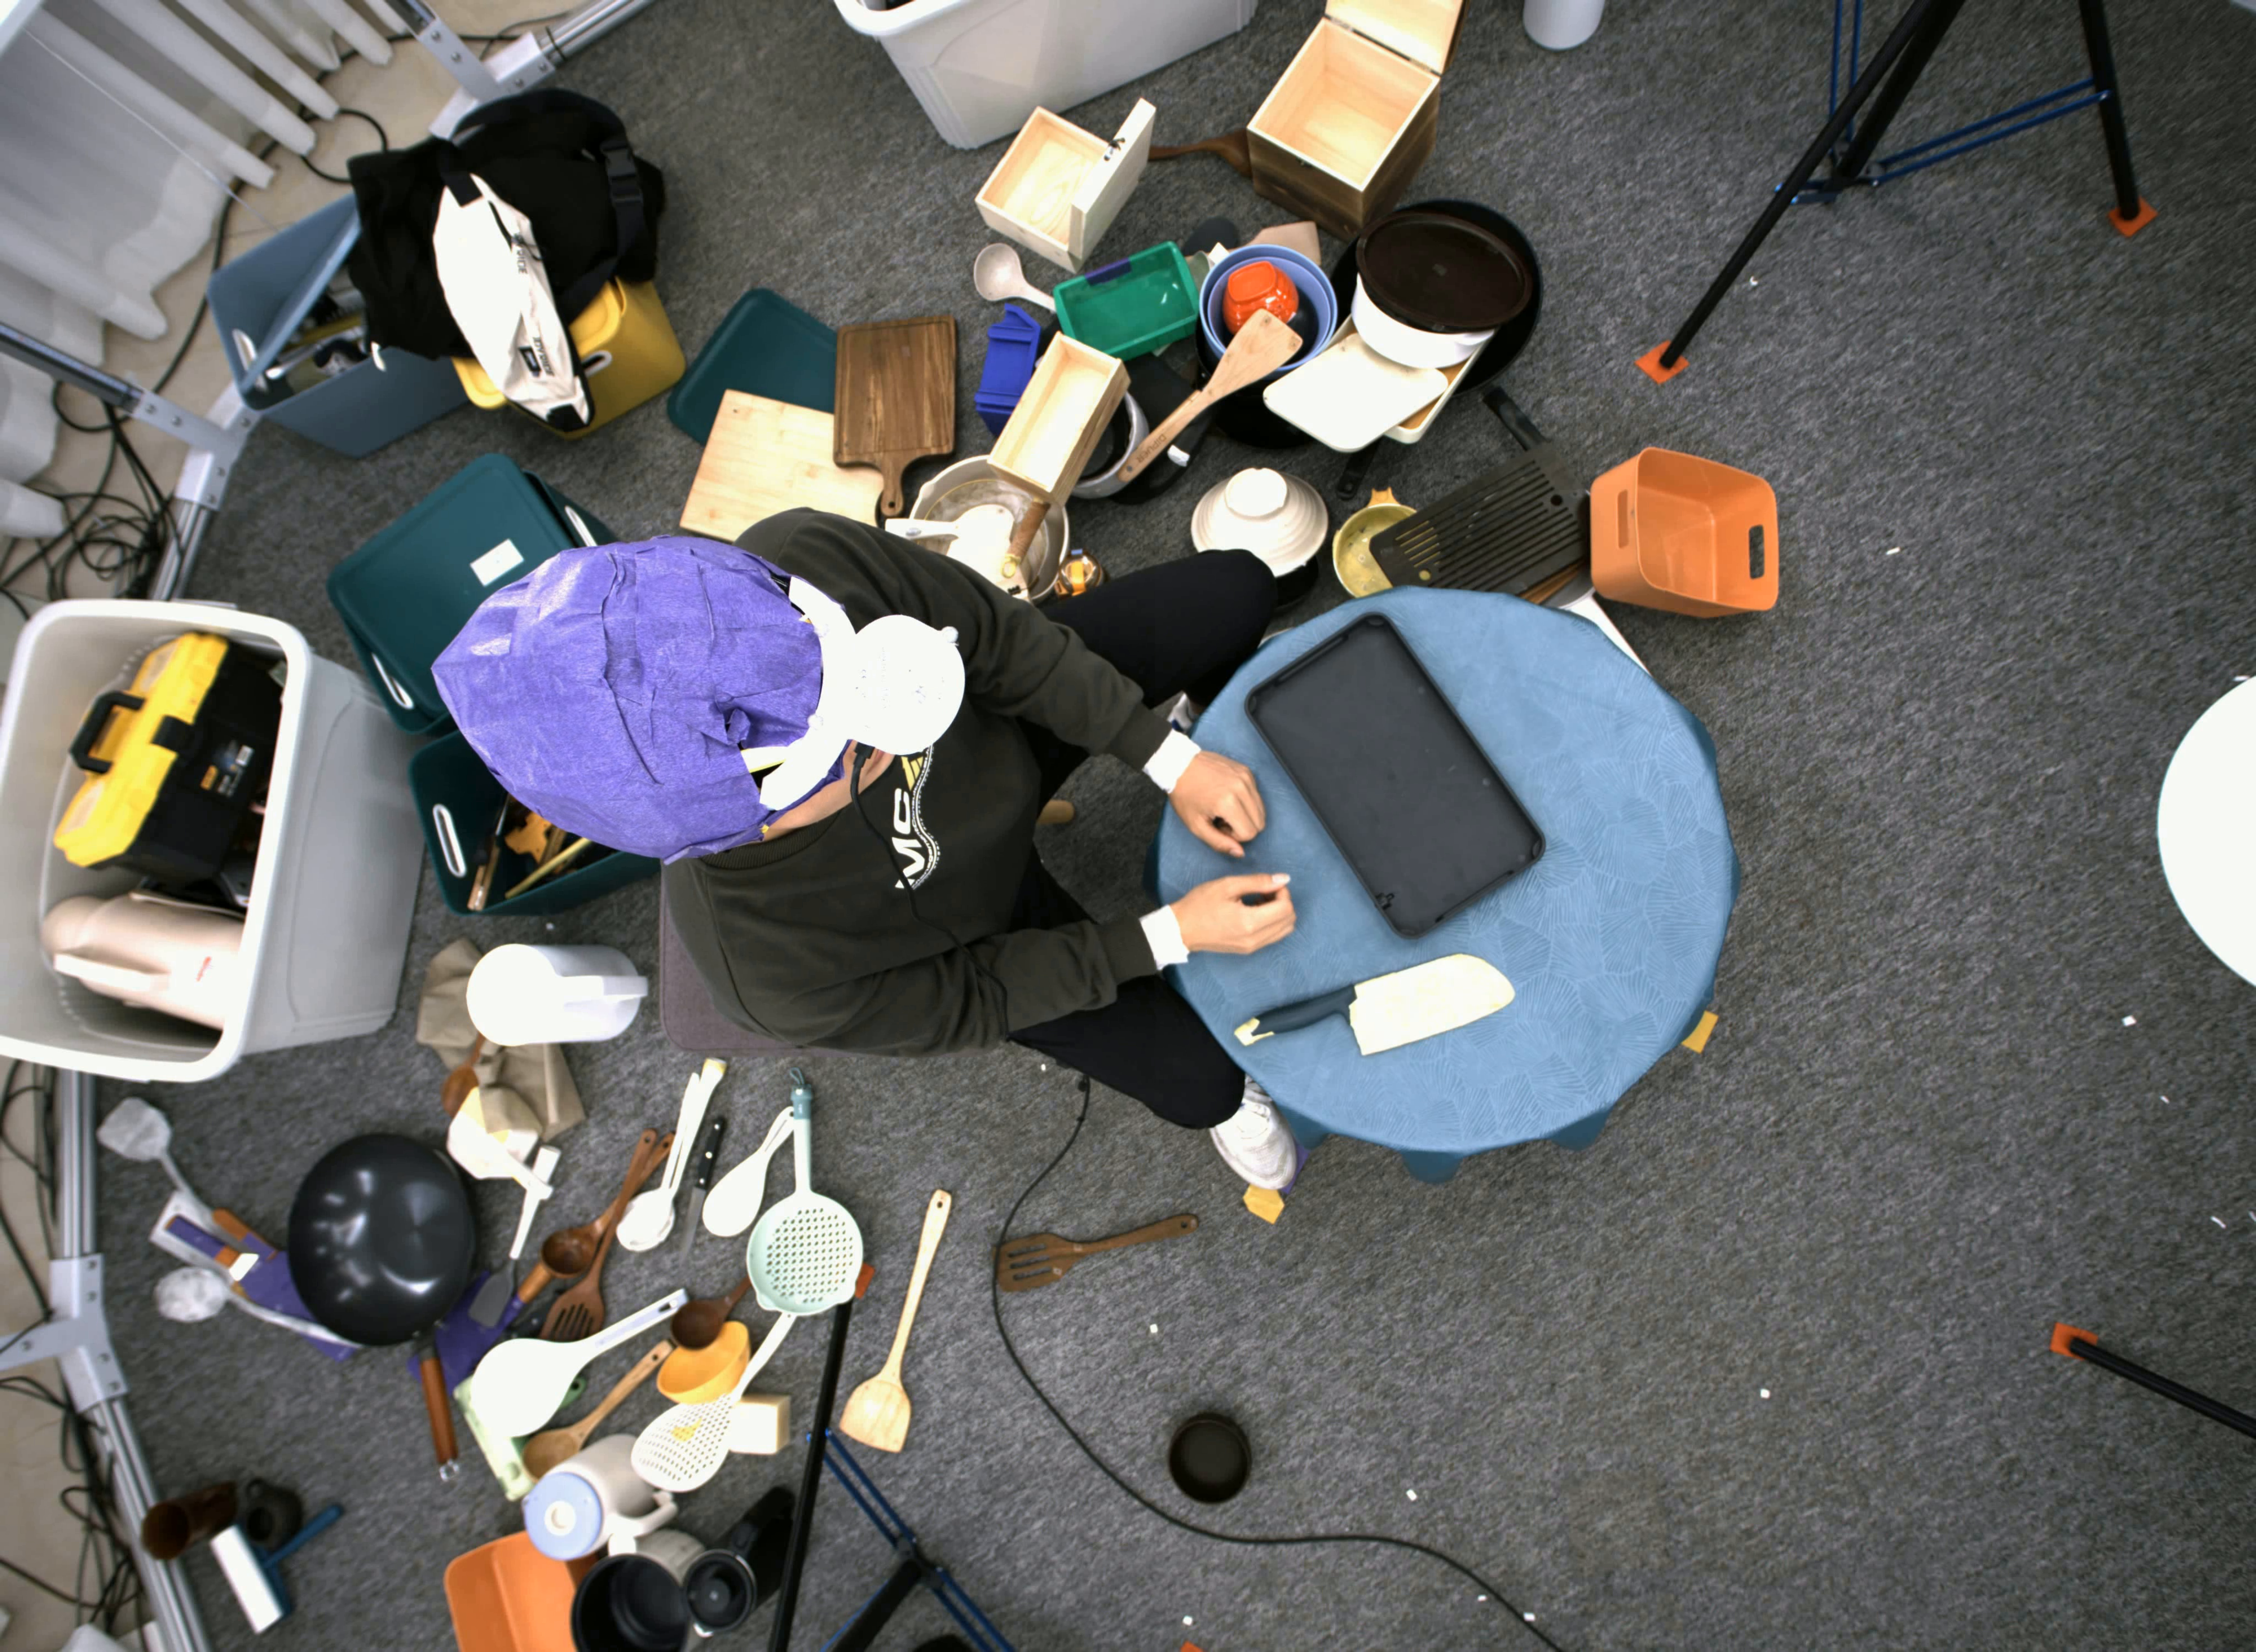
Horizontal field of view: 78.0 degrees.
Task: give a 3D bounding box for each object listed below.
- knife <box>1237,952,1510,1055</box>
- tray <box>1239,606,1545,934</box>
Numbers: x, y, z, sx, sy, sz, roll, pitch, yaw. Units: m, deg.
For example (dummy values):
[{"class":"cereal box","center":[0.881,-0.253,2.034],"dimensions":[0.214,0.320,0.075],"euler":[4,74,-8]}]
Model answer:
[{"class":"knife","center":[0.258,0.195,1.448],"dimensions":[0.291,0.027,0.080],"euler":[-15,82,9]},{"class":"tray","center":[0.275,-0.060,1.449],"dimensions":[0.185,0.037,0.316],"euler":[-36,81,8]}]
